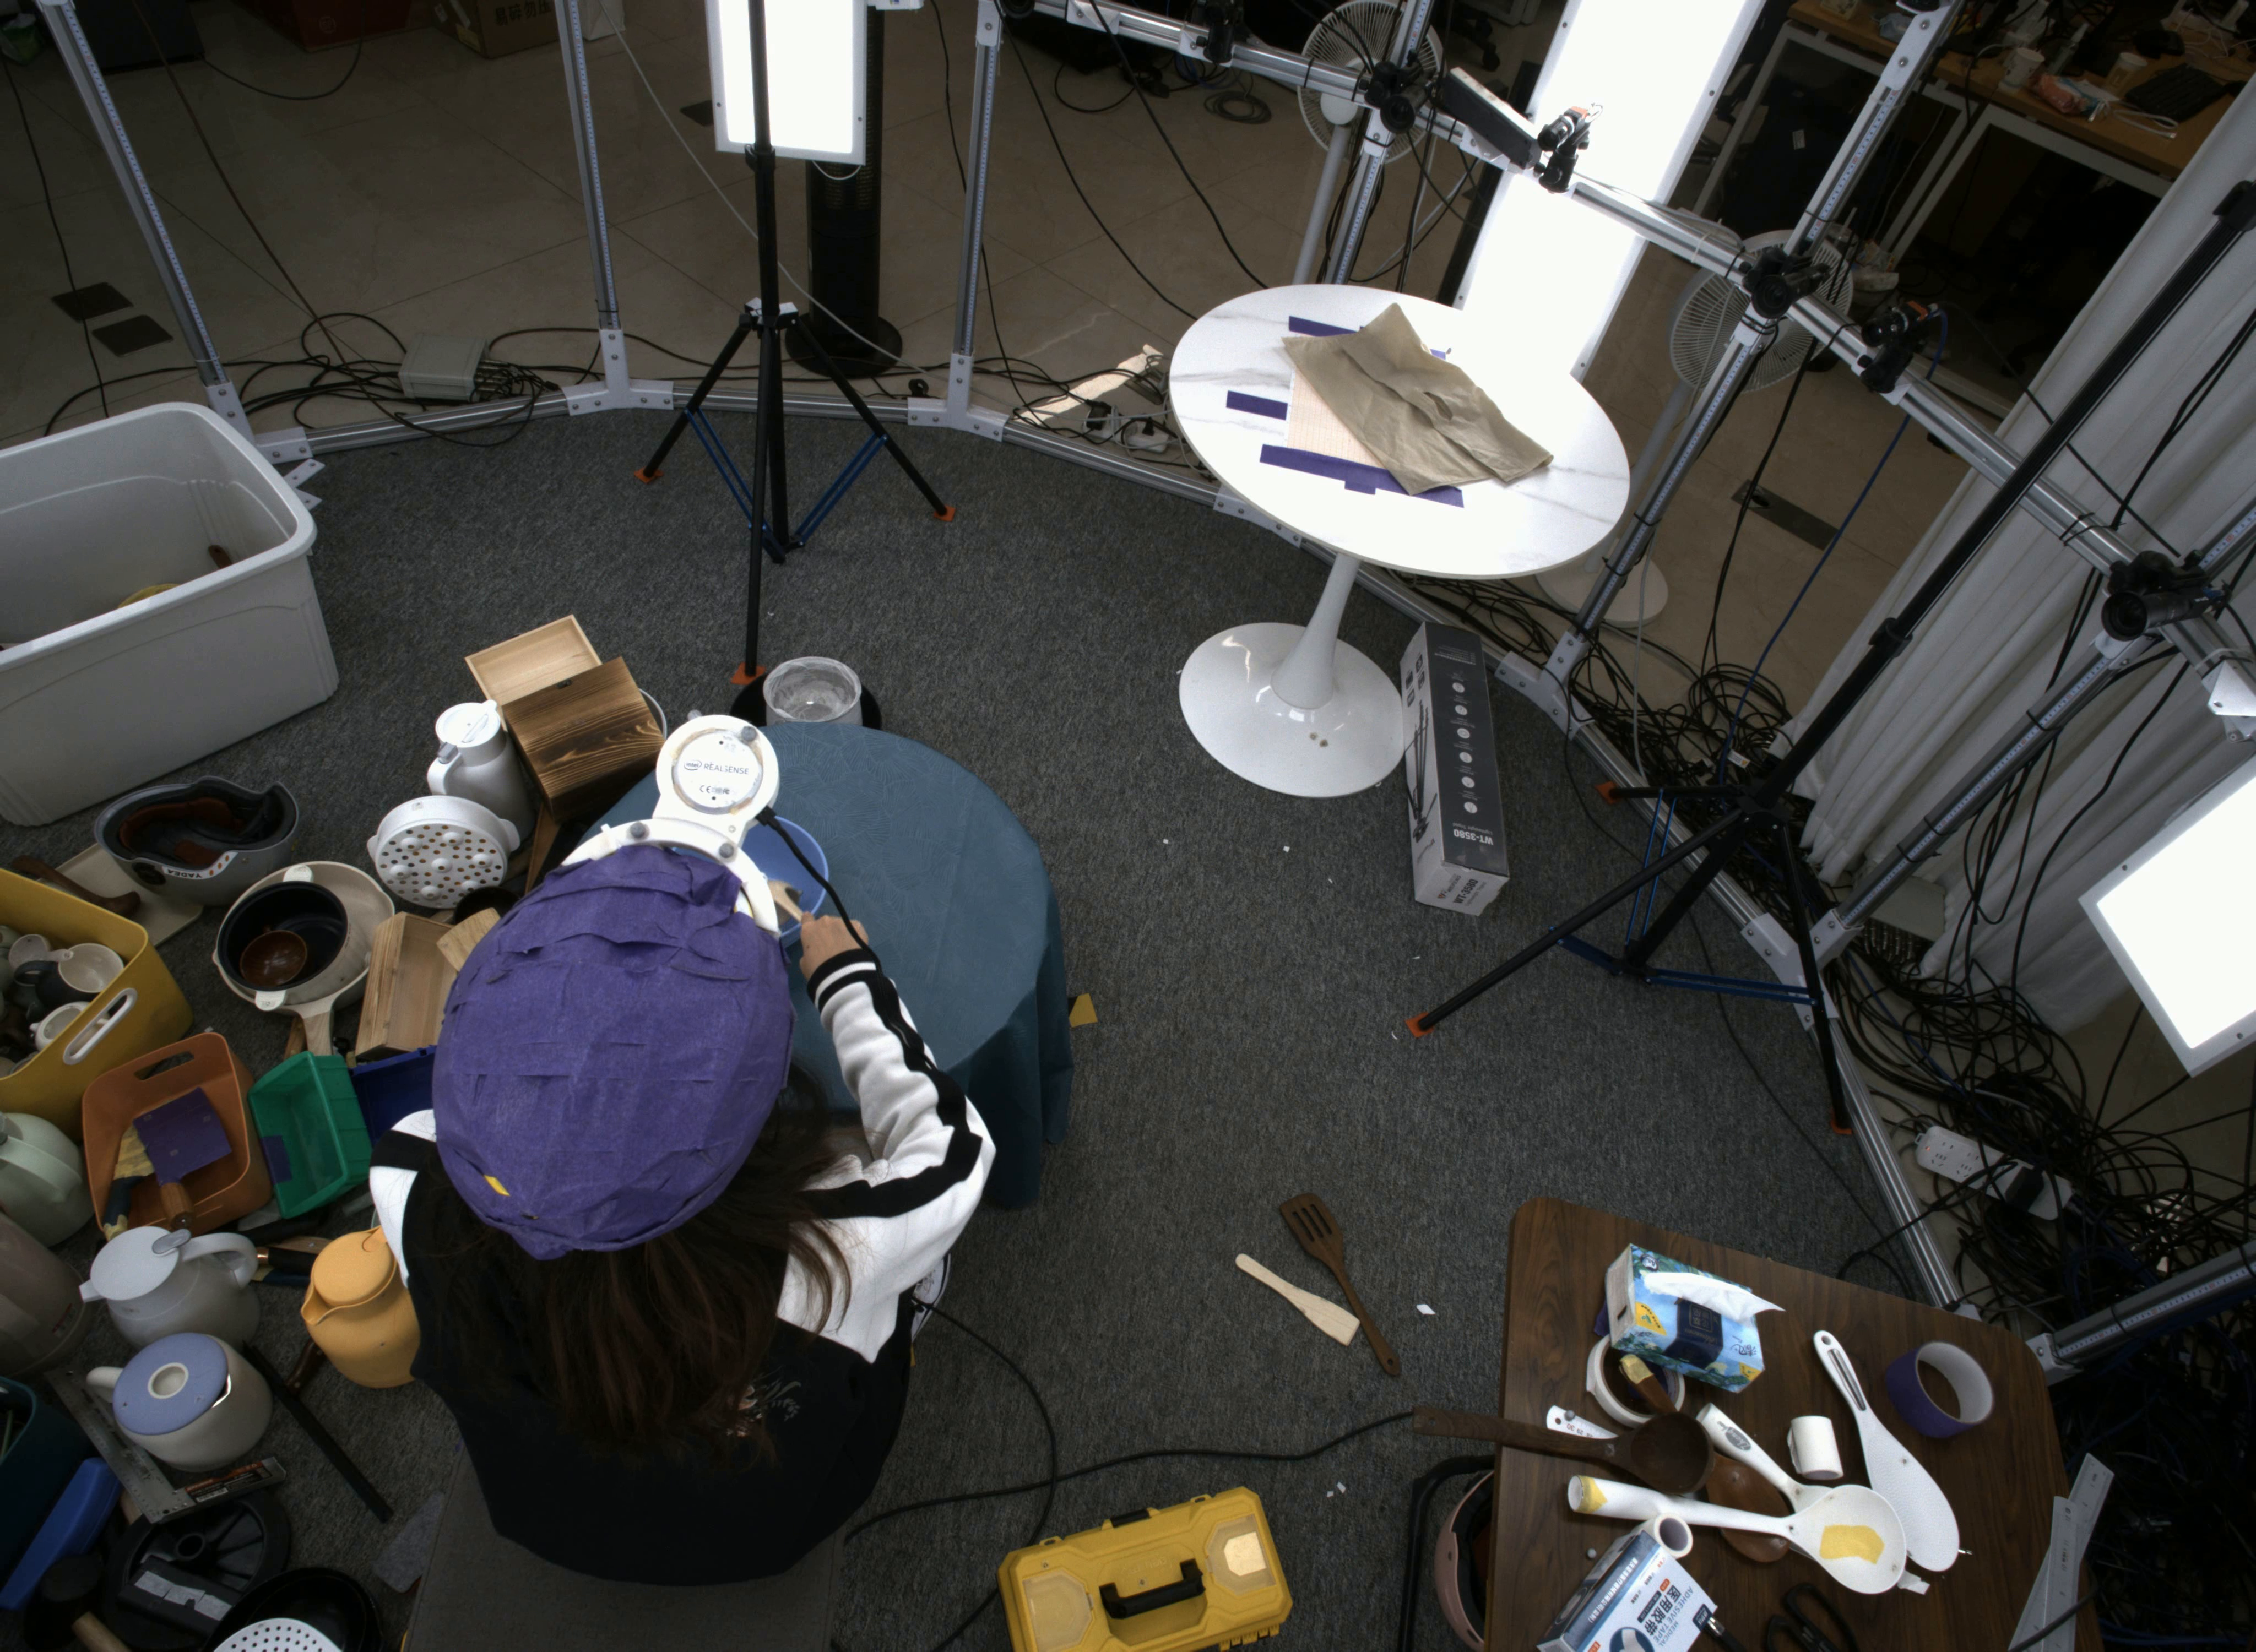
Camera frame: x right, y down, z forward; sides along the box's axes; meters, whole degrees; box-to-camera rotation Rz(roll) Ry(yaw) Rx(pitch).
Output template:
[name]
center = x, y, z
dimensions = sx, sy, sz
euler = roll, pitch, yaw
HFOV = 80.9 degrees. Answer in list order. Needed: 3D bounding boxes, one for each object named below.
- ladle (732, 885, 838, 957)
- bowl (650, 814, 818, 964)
[ladle]
center = -0.387, 0.133, 1.501
dimensions = 0.072, 0.075, 0.245
euler = -24, 31, -31
[bowl]
center = -0.478, 0.091, 1.579
dimensions = 0.196, 0.097, 0.193
euler = 9, 52, -10
